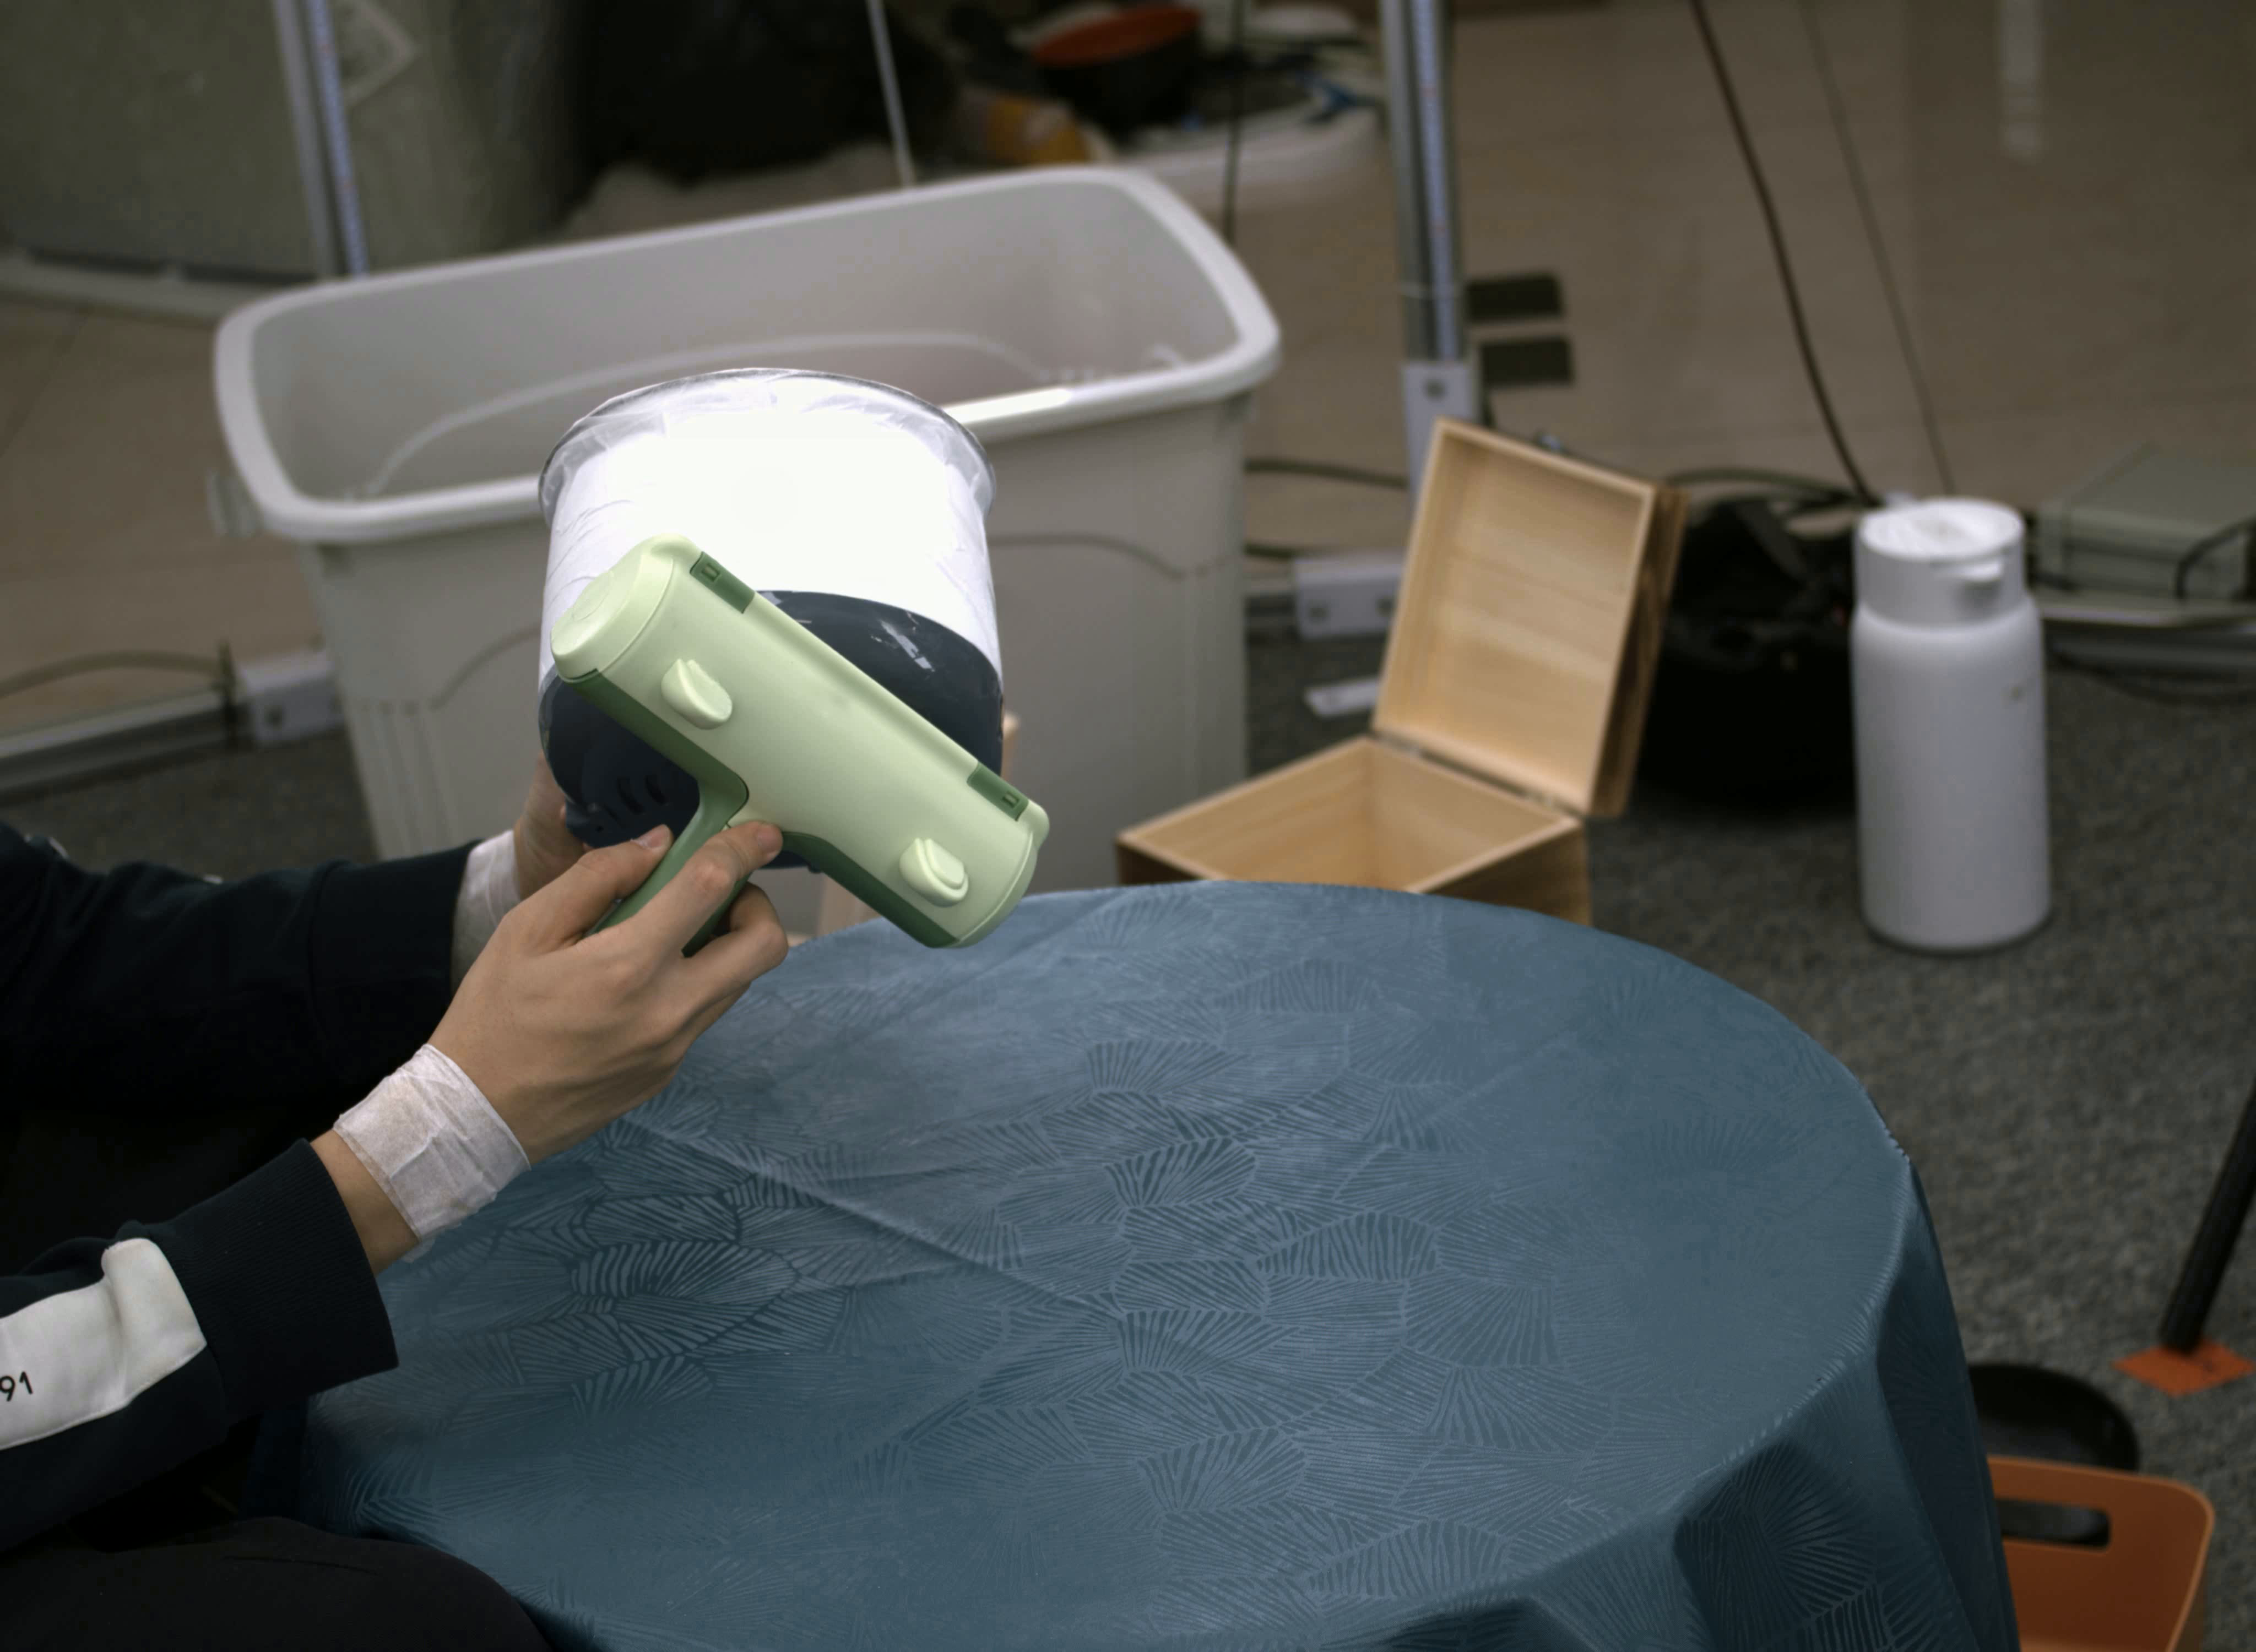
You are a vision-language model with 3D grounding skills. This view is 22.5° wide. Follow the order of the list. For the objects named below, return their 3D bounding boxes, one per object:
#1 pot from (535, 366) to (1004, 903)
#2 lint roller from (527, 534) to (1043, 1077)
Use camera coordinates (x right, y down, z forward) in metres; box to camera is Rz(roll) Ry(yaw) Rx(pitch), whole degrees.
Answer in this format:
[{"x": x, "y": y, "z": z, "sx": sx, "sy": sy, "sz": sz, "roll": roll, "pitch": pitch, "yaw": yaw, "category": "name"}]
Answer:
[{"x": -0.149, "y": -0.062, "z": 2.173, "sx": 0.179, "sy": 0.236, "sz": 0.135, "roll": 12, "pitch": 60, "yaw": -26, "category": "pot"}, {"x": -0.148, "y": 0.020, "z": 2.033, "sx": 0.183, "sy": 0.200, "sz": 0.081, "roll": -55, "pitch": 28, "yaw": -4, "category": "lint roller"}]
